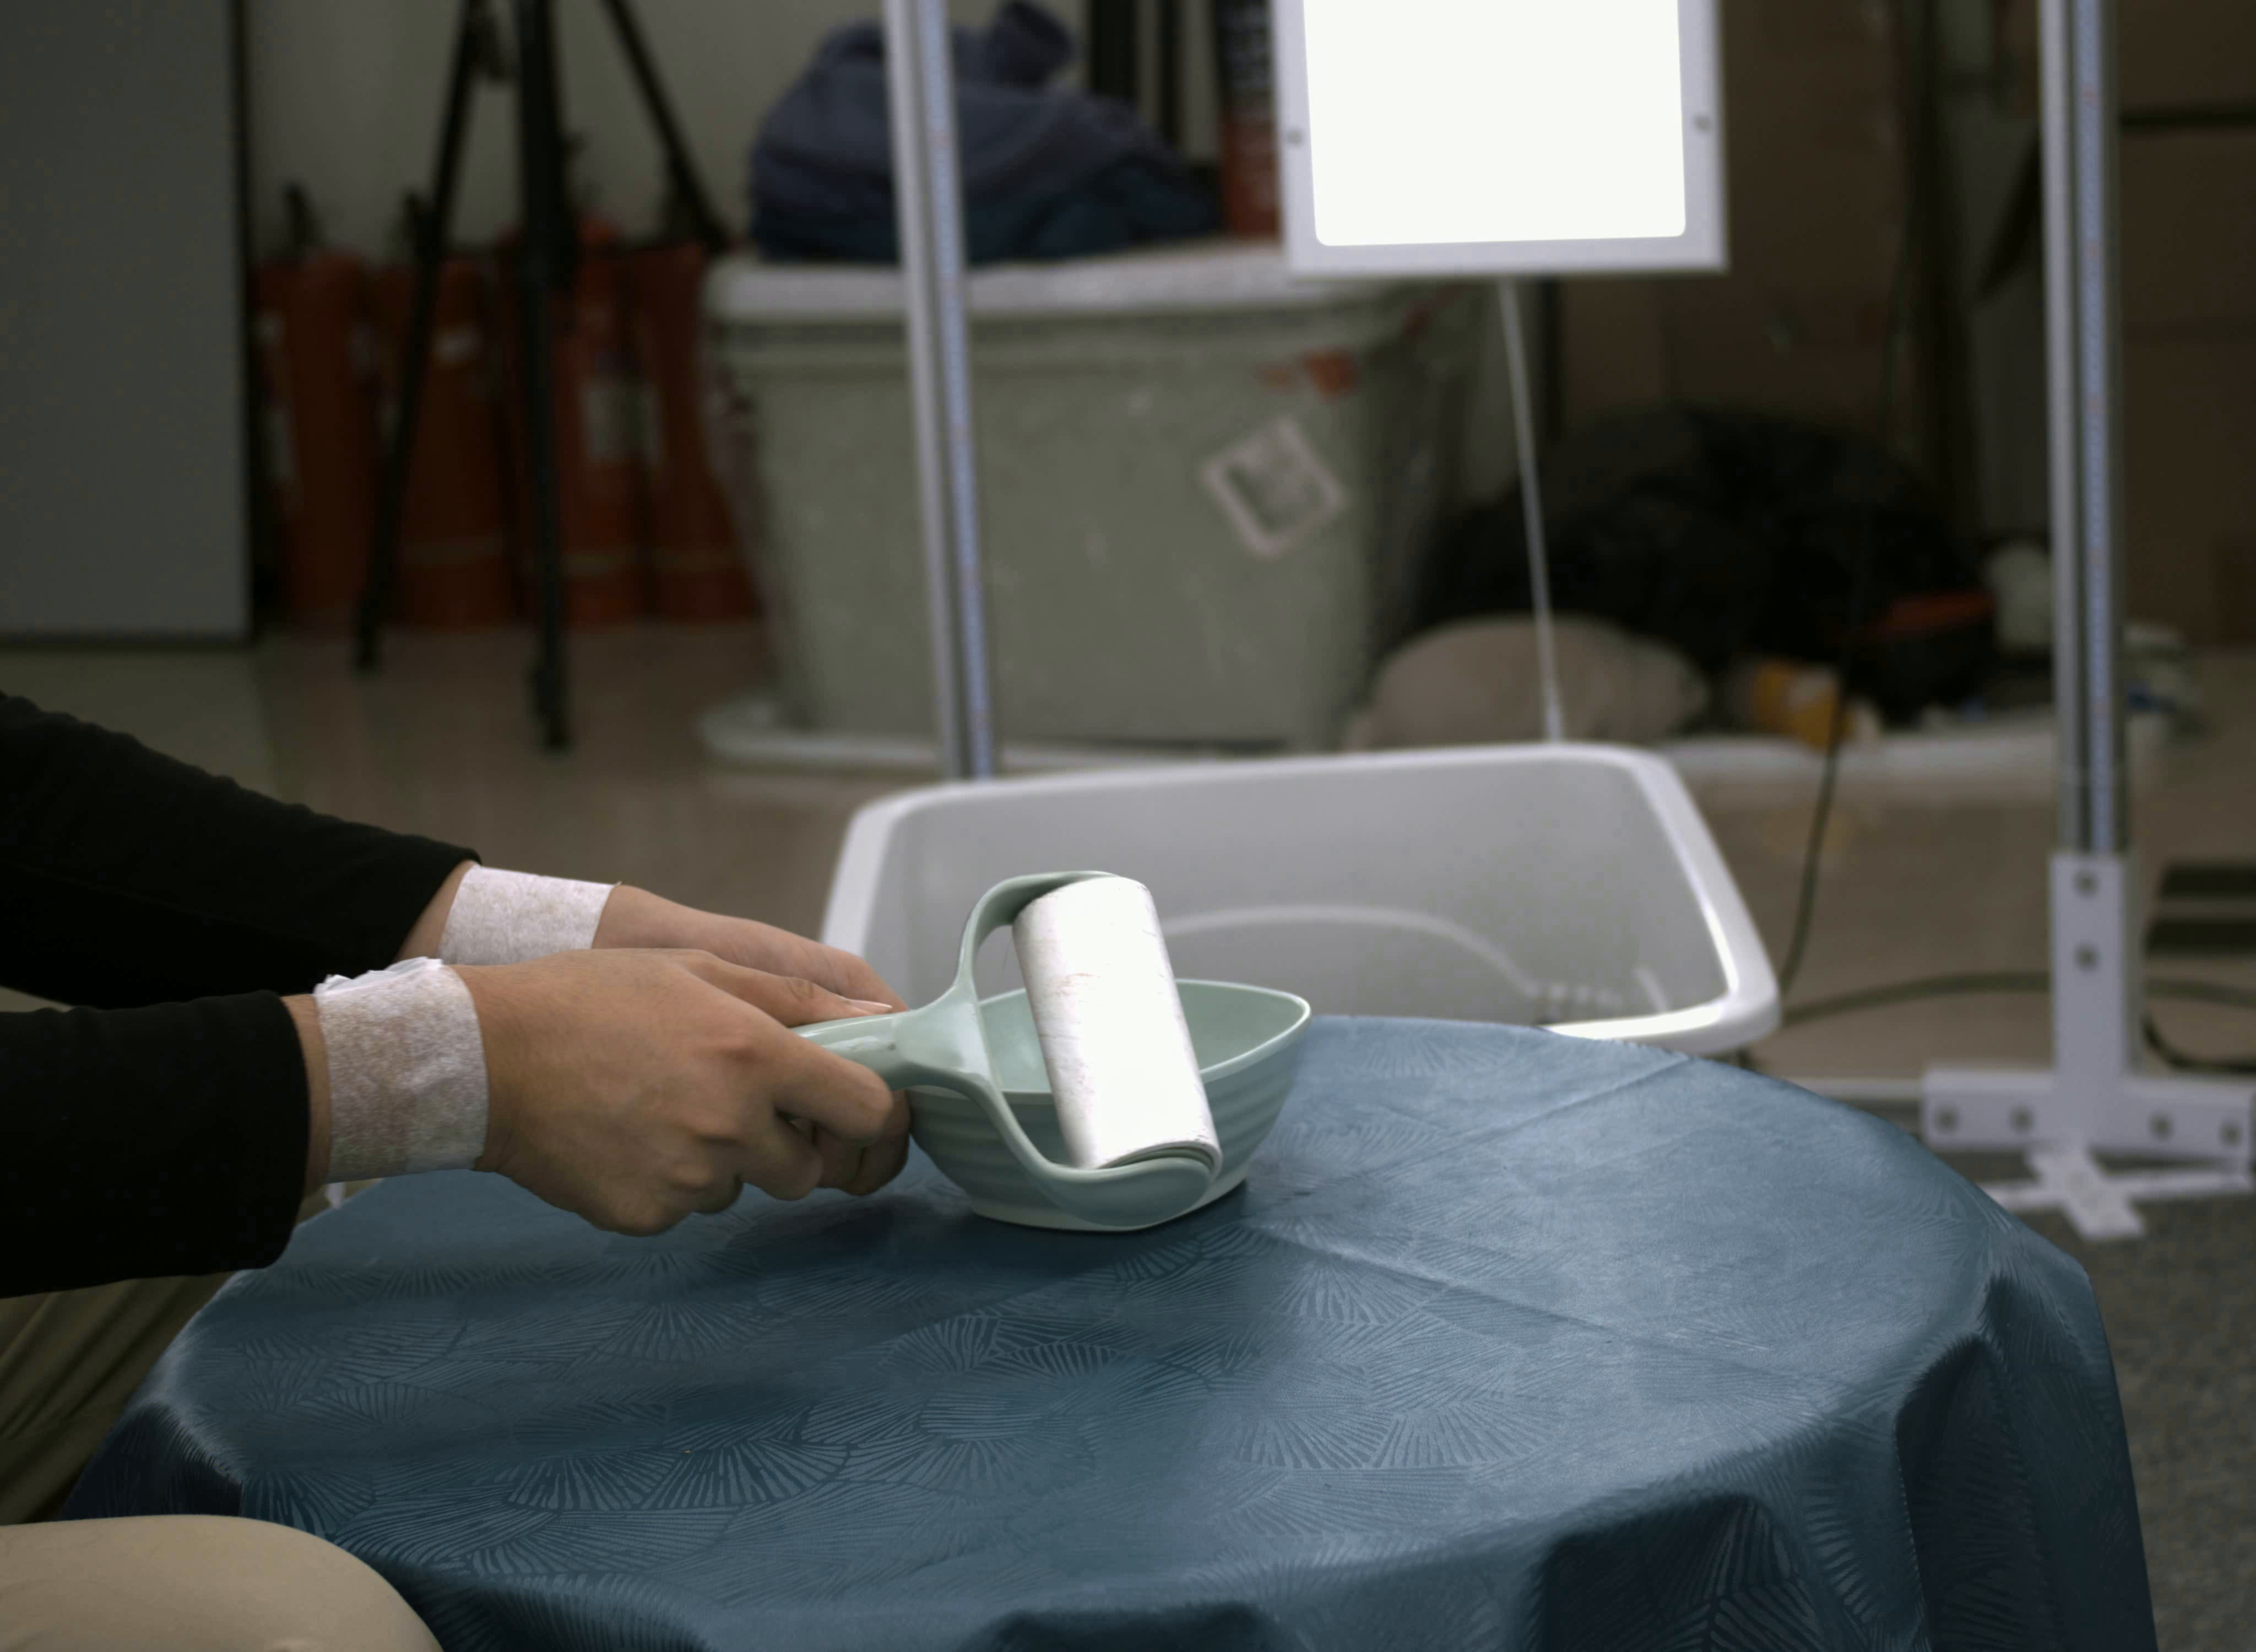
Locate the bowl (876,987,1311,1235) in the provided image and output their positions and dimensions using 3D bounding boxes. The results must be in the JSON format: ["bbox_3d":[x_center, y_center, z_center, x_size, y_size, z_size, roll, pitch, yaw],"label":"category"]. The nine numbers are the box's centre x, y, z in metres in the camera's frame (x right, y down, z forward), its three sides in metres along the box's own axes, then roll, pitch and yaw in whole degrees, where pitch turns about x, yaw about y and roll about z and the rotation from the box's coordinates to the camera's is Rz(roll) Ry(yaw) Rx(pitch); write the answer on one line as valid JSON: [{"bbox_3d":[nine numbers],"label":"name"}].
[{"bbox_3d":[-0.010,0.100,1.890,0.151,0.059,0.151,-5,12,0],"label":"bowl"}]

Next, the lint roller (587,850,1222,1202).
[{"bbox_3d":[-0.076,0.073,1.759,0.195,0.117,0.049,-7,-30,-13],"label":"lint roller"}]
